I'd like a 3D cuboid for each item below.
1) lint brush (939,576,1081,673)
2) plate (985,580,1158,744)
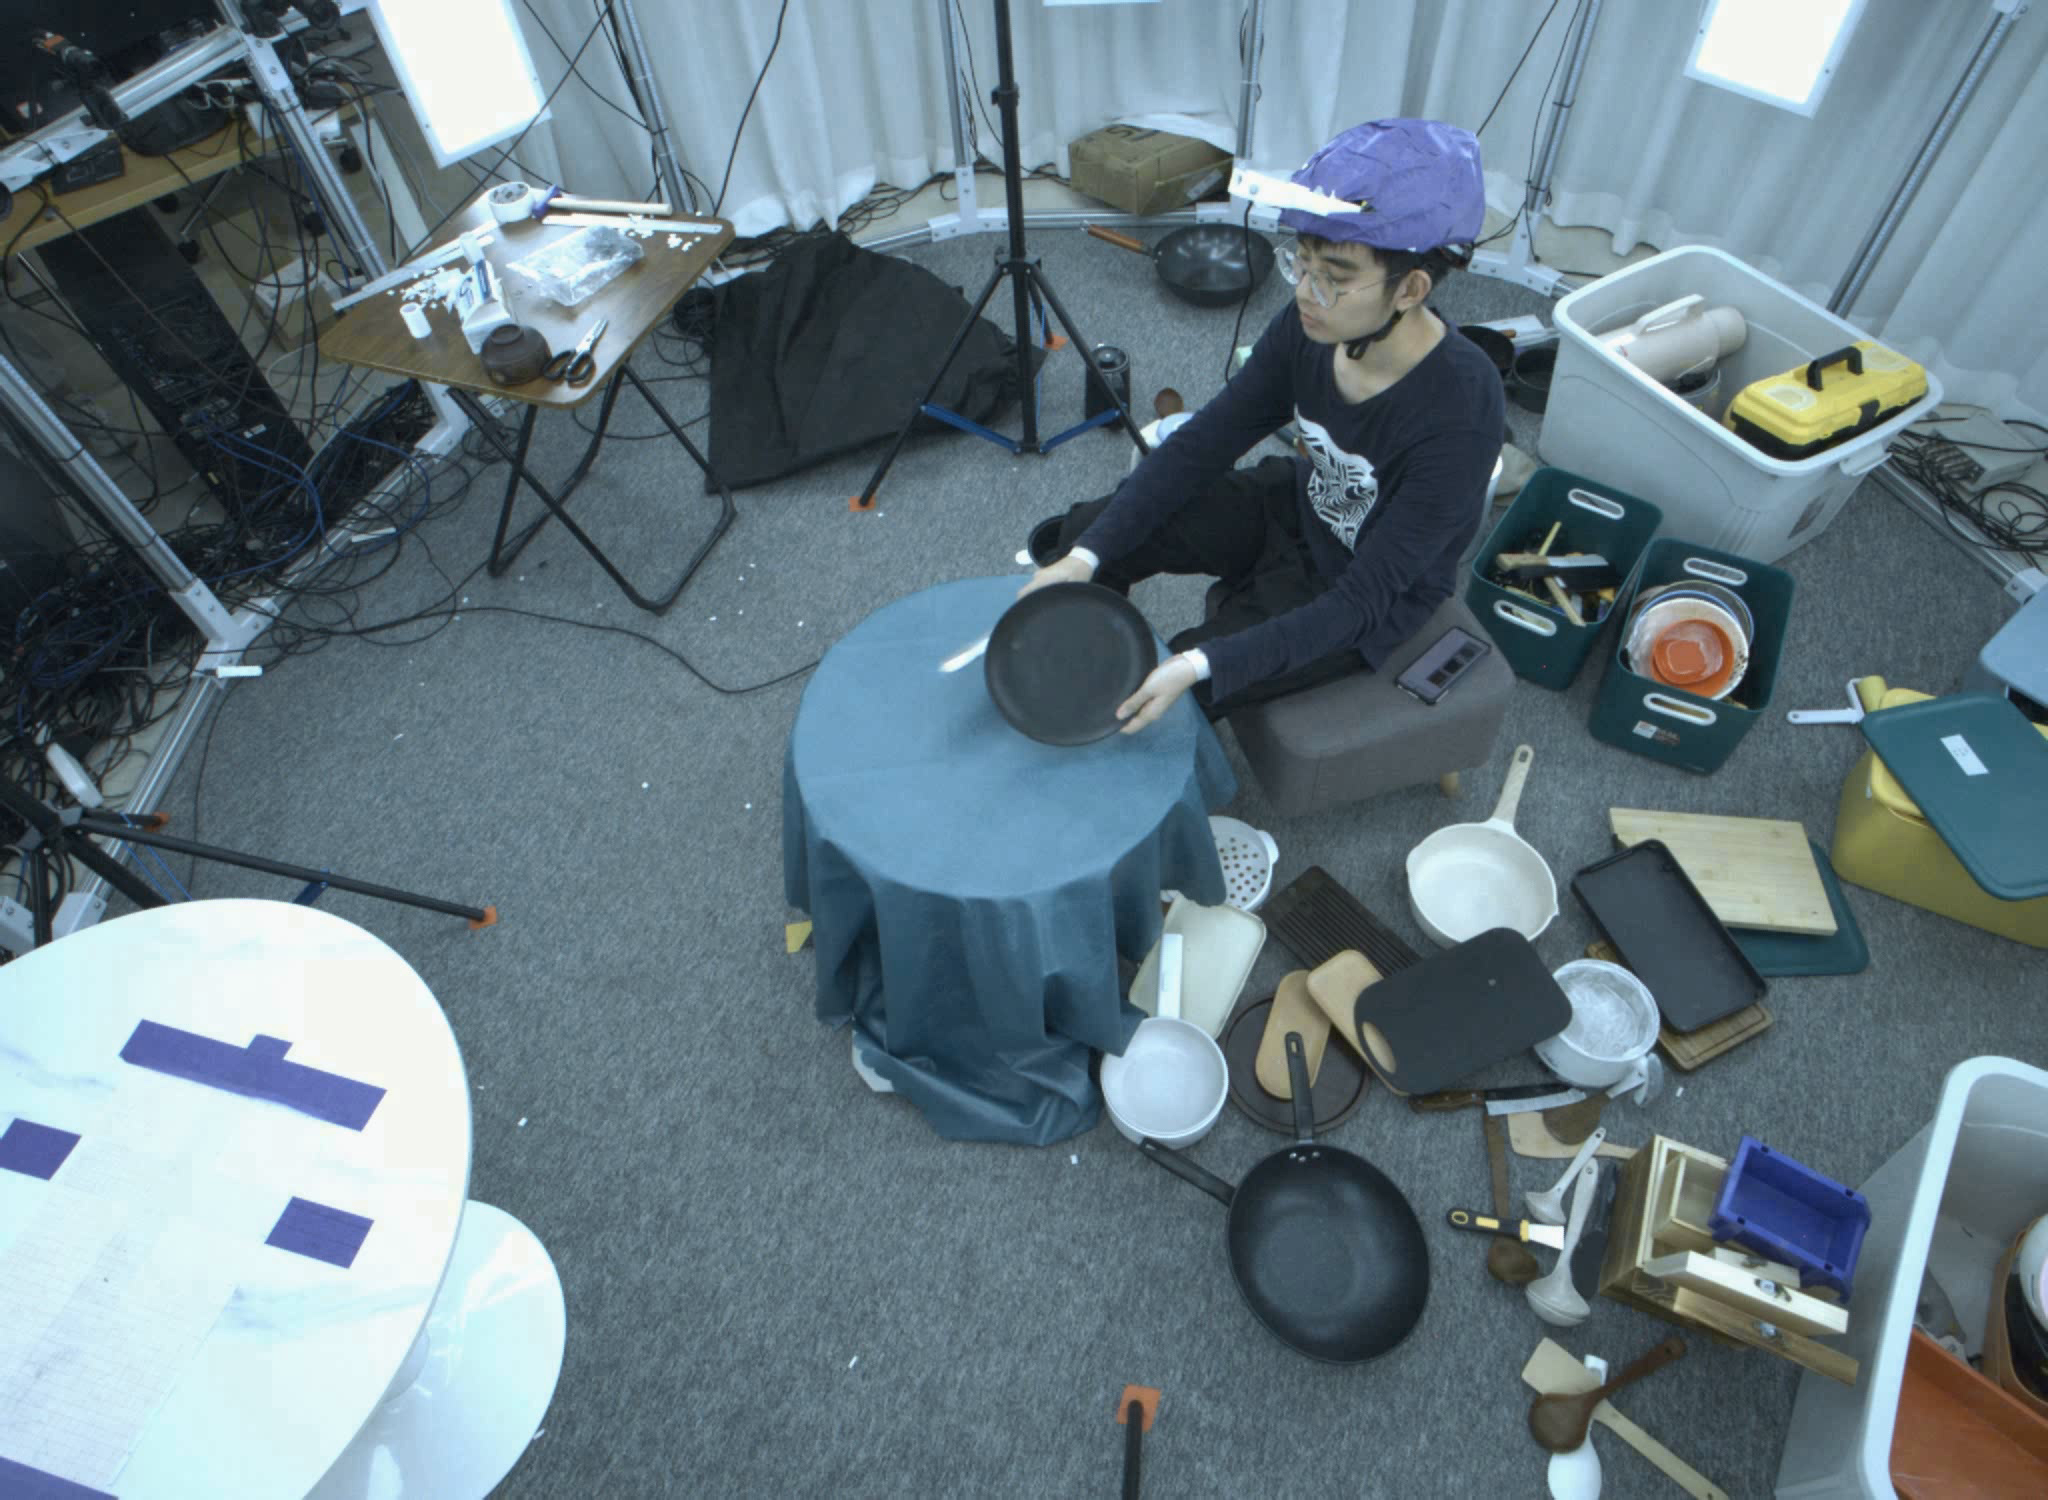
[{"bbox_3d":[-0.015,-0.191,1.829,0.312,0.059,0.021,-38,103,-37],"label":"lint brush"},{"bbox_3d":[0.066,-0.124,1.723,0.245,0.247,0.023,-9,25,-4],"label":"plate"}]
